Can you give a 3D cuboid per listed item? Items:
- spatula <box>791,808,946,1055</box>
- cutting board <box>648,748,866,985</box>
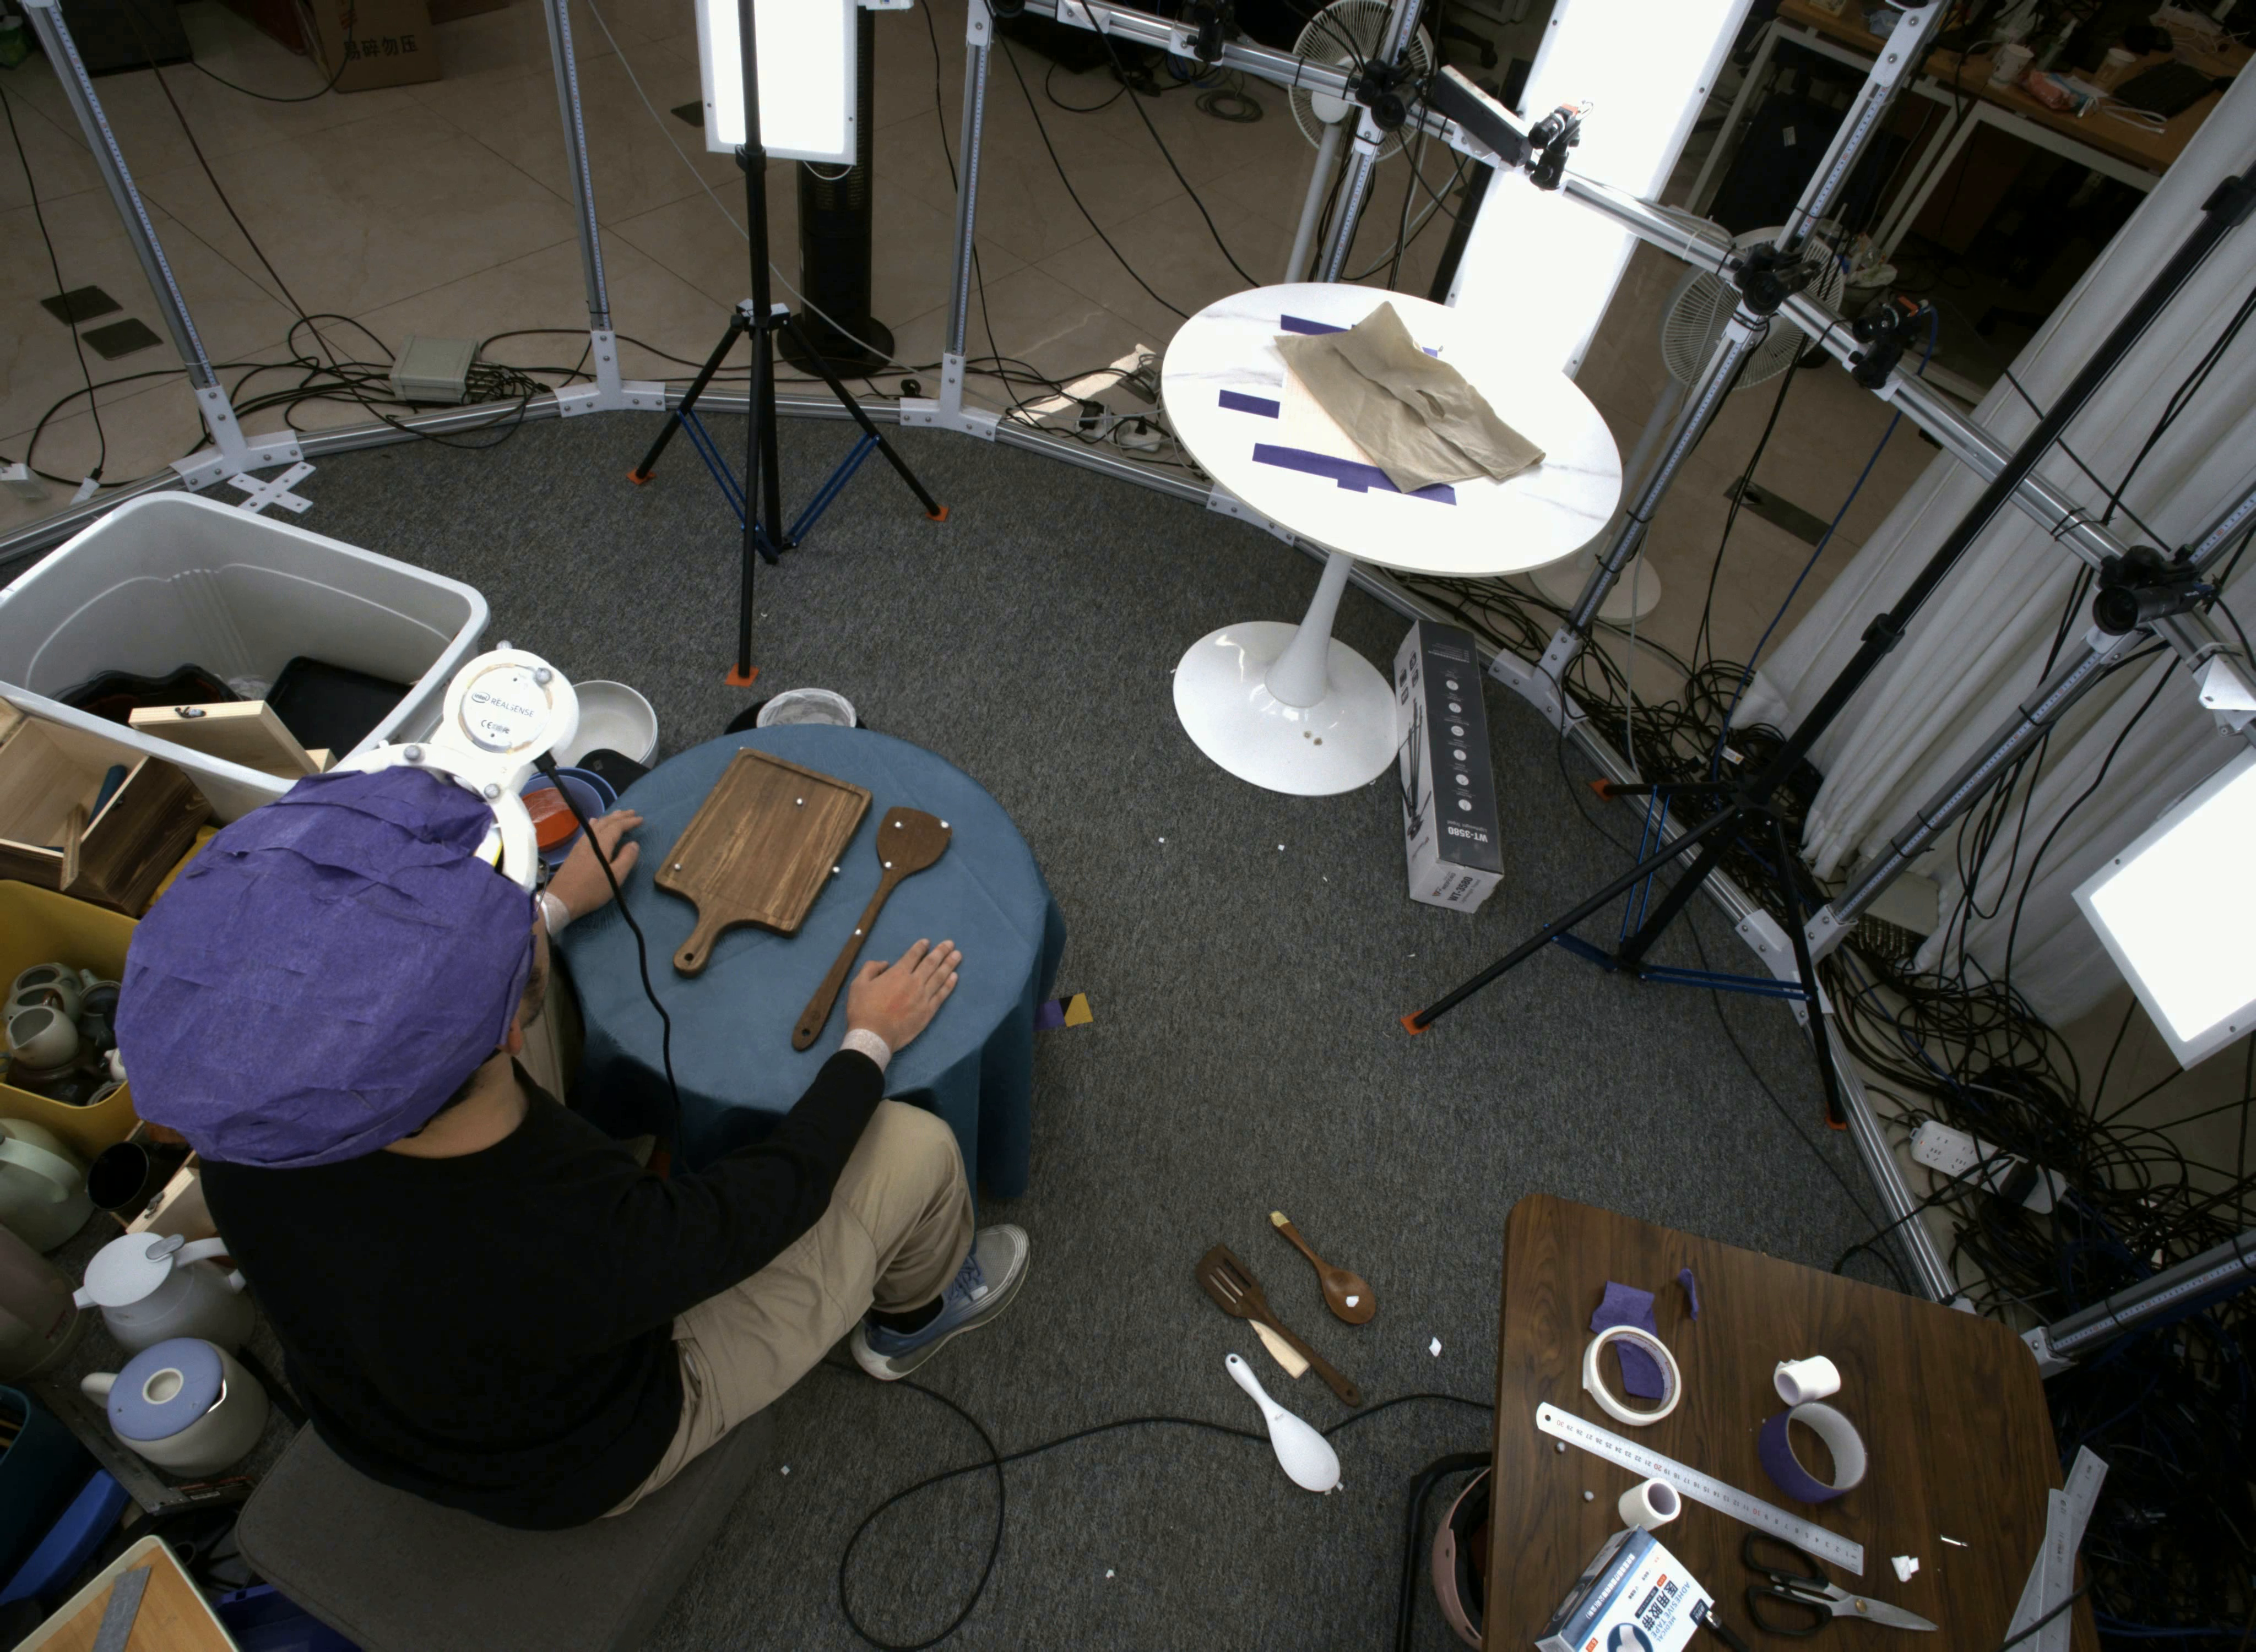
[{"bbox_3d":[-0.336,0.123,1.641,0.095,0.016,0.382,20,52,1],"label":"spatula"},{"bbox_3d":[-0.491,0.052,1.649,0.199,0.023,0.348,20,52,0],"label":"cutting board"}]
